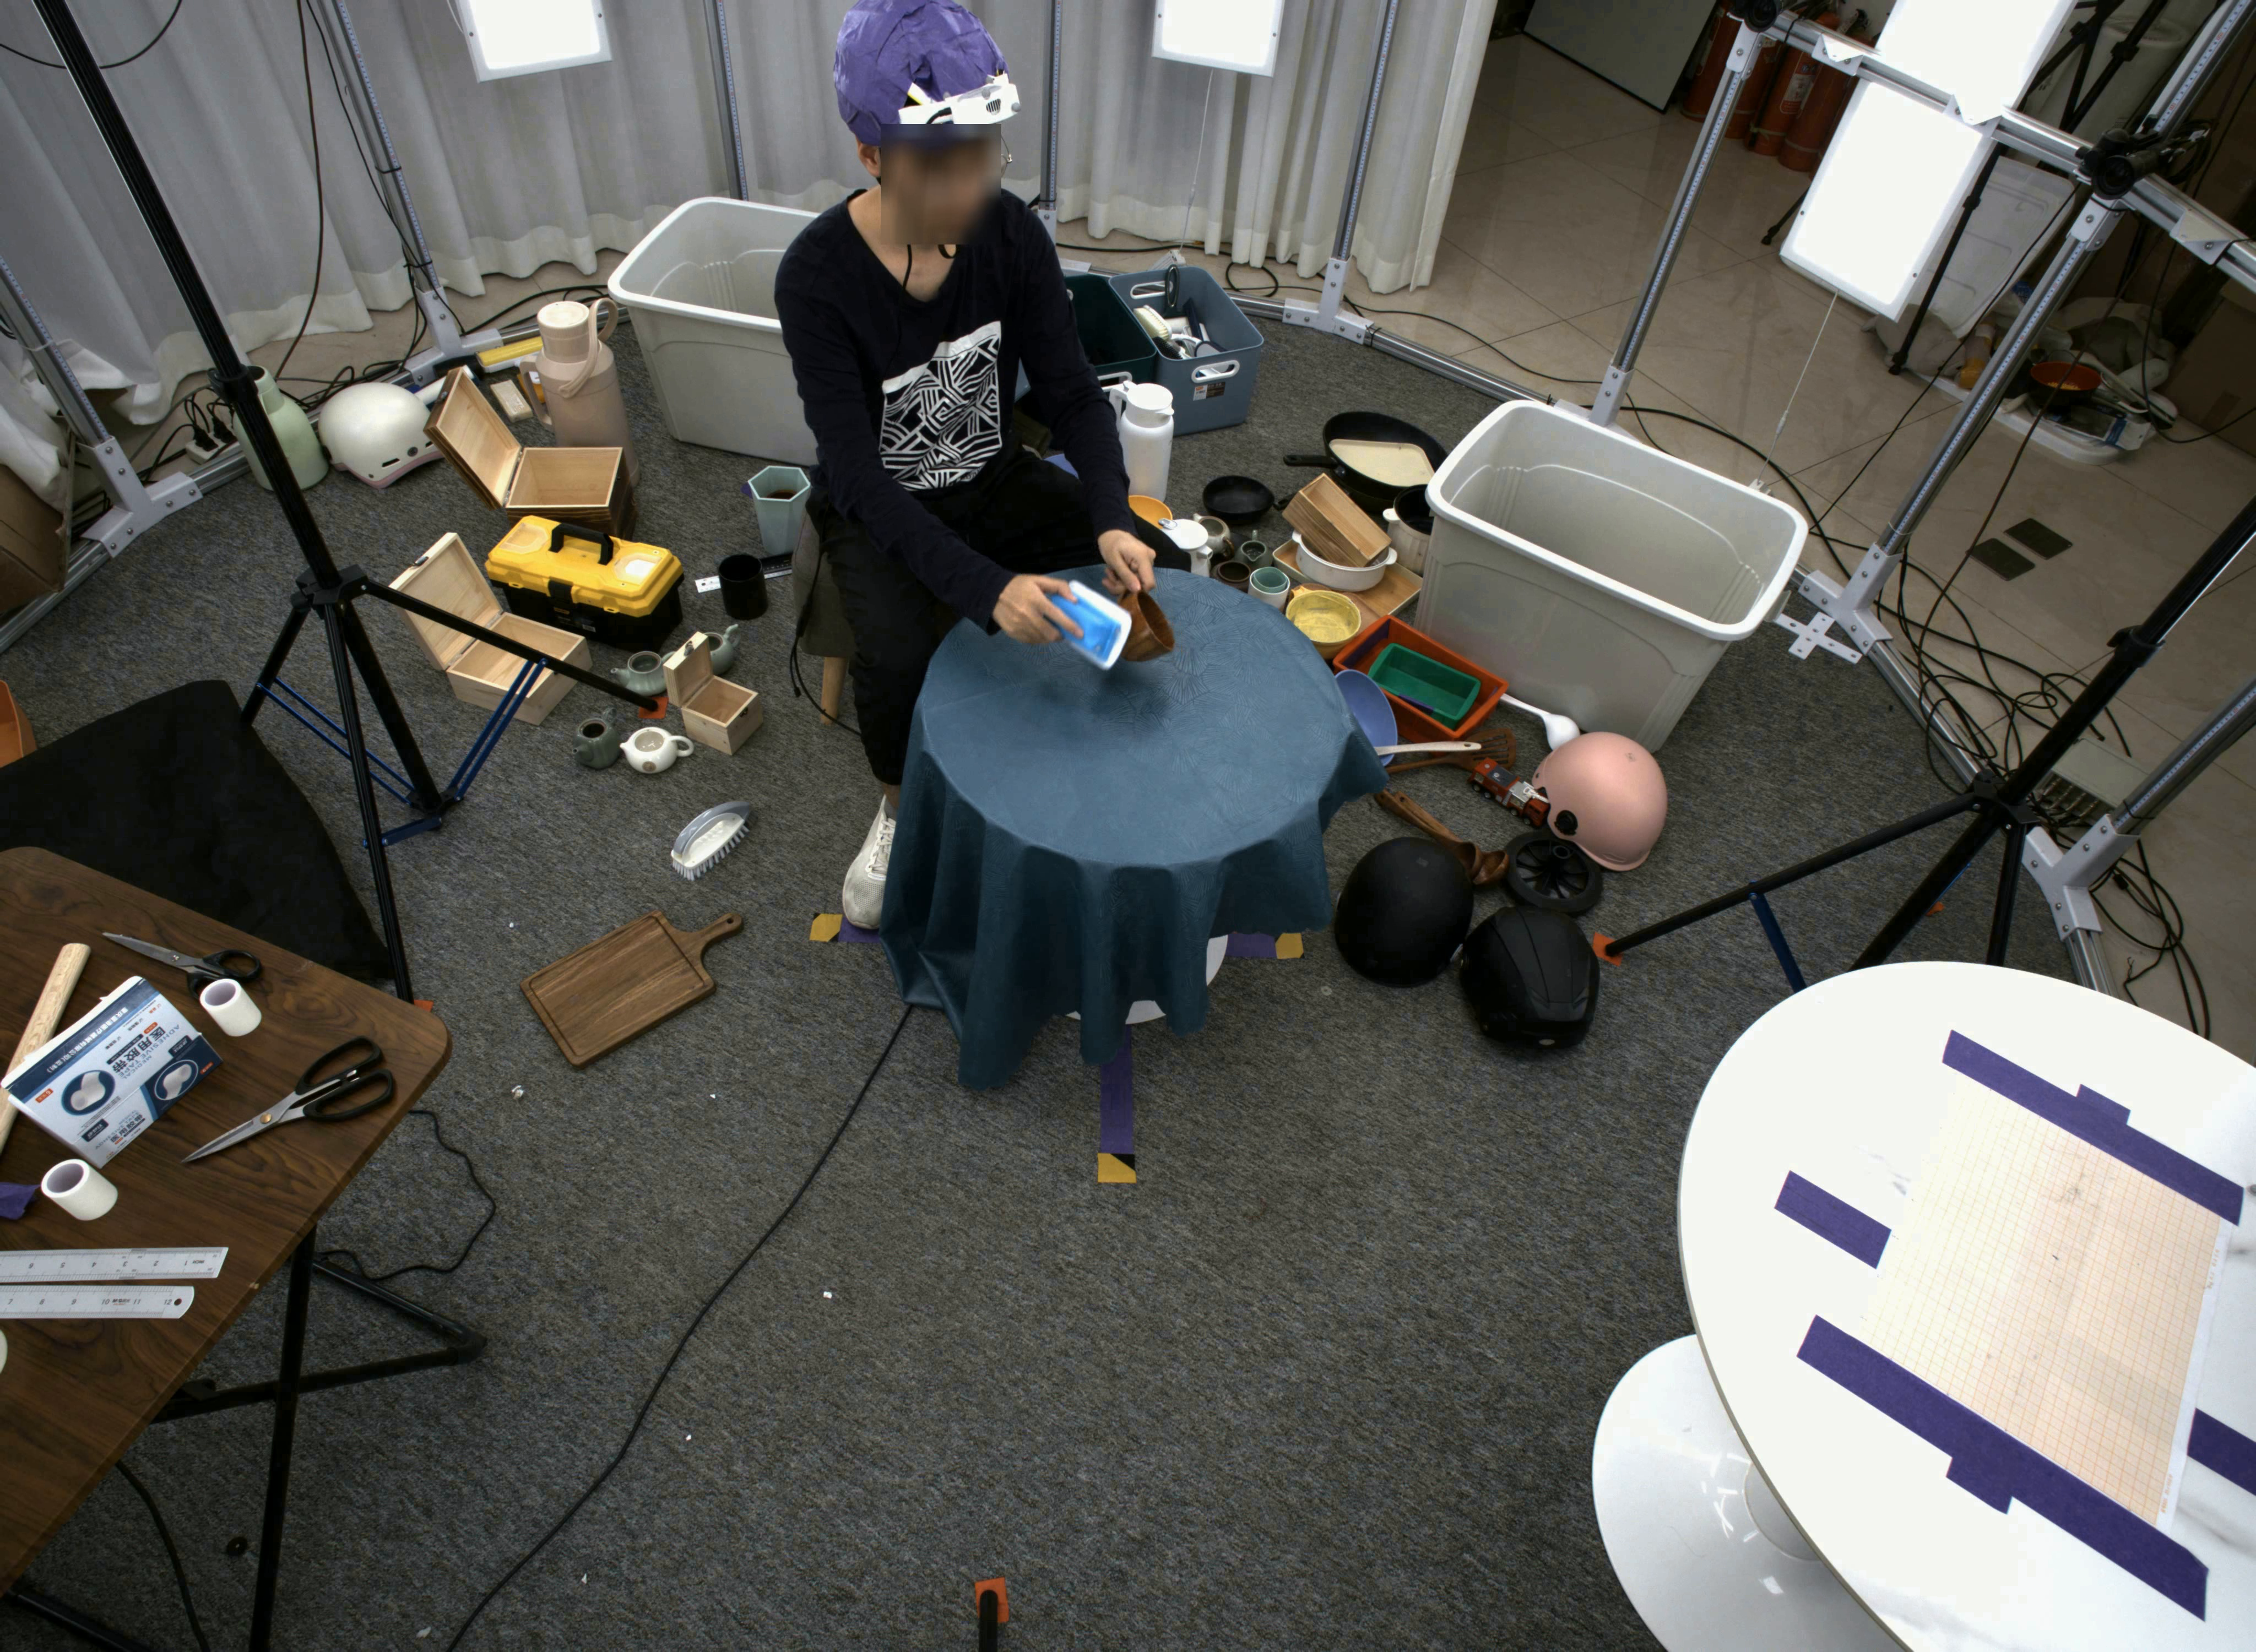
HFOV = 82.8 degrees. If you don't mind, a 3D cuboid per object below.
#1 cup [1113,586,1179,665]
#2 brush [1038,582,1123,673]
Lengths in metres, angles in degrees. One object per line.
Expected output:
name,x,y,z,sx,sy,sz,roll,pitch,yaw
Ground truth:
cup,0.012,-0.281,1.809,0.095,0.067,0.121,13,48,-55
brush,-0.073,-0.275,1.755,0.055,0.083,0.146,11,25,-51
